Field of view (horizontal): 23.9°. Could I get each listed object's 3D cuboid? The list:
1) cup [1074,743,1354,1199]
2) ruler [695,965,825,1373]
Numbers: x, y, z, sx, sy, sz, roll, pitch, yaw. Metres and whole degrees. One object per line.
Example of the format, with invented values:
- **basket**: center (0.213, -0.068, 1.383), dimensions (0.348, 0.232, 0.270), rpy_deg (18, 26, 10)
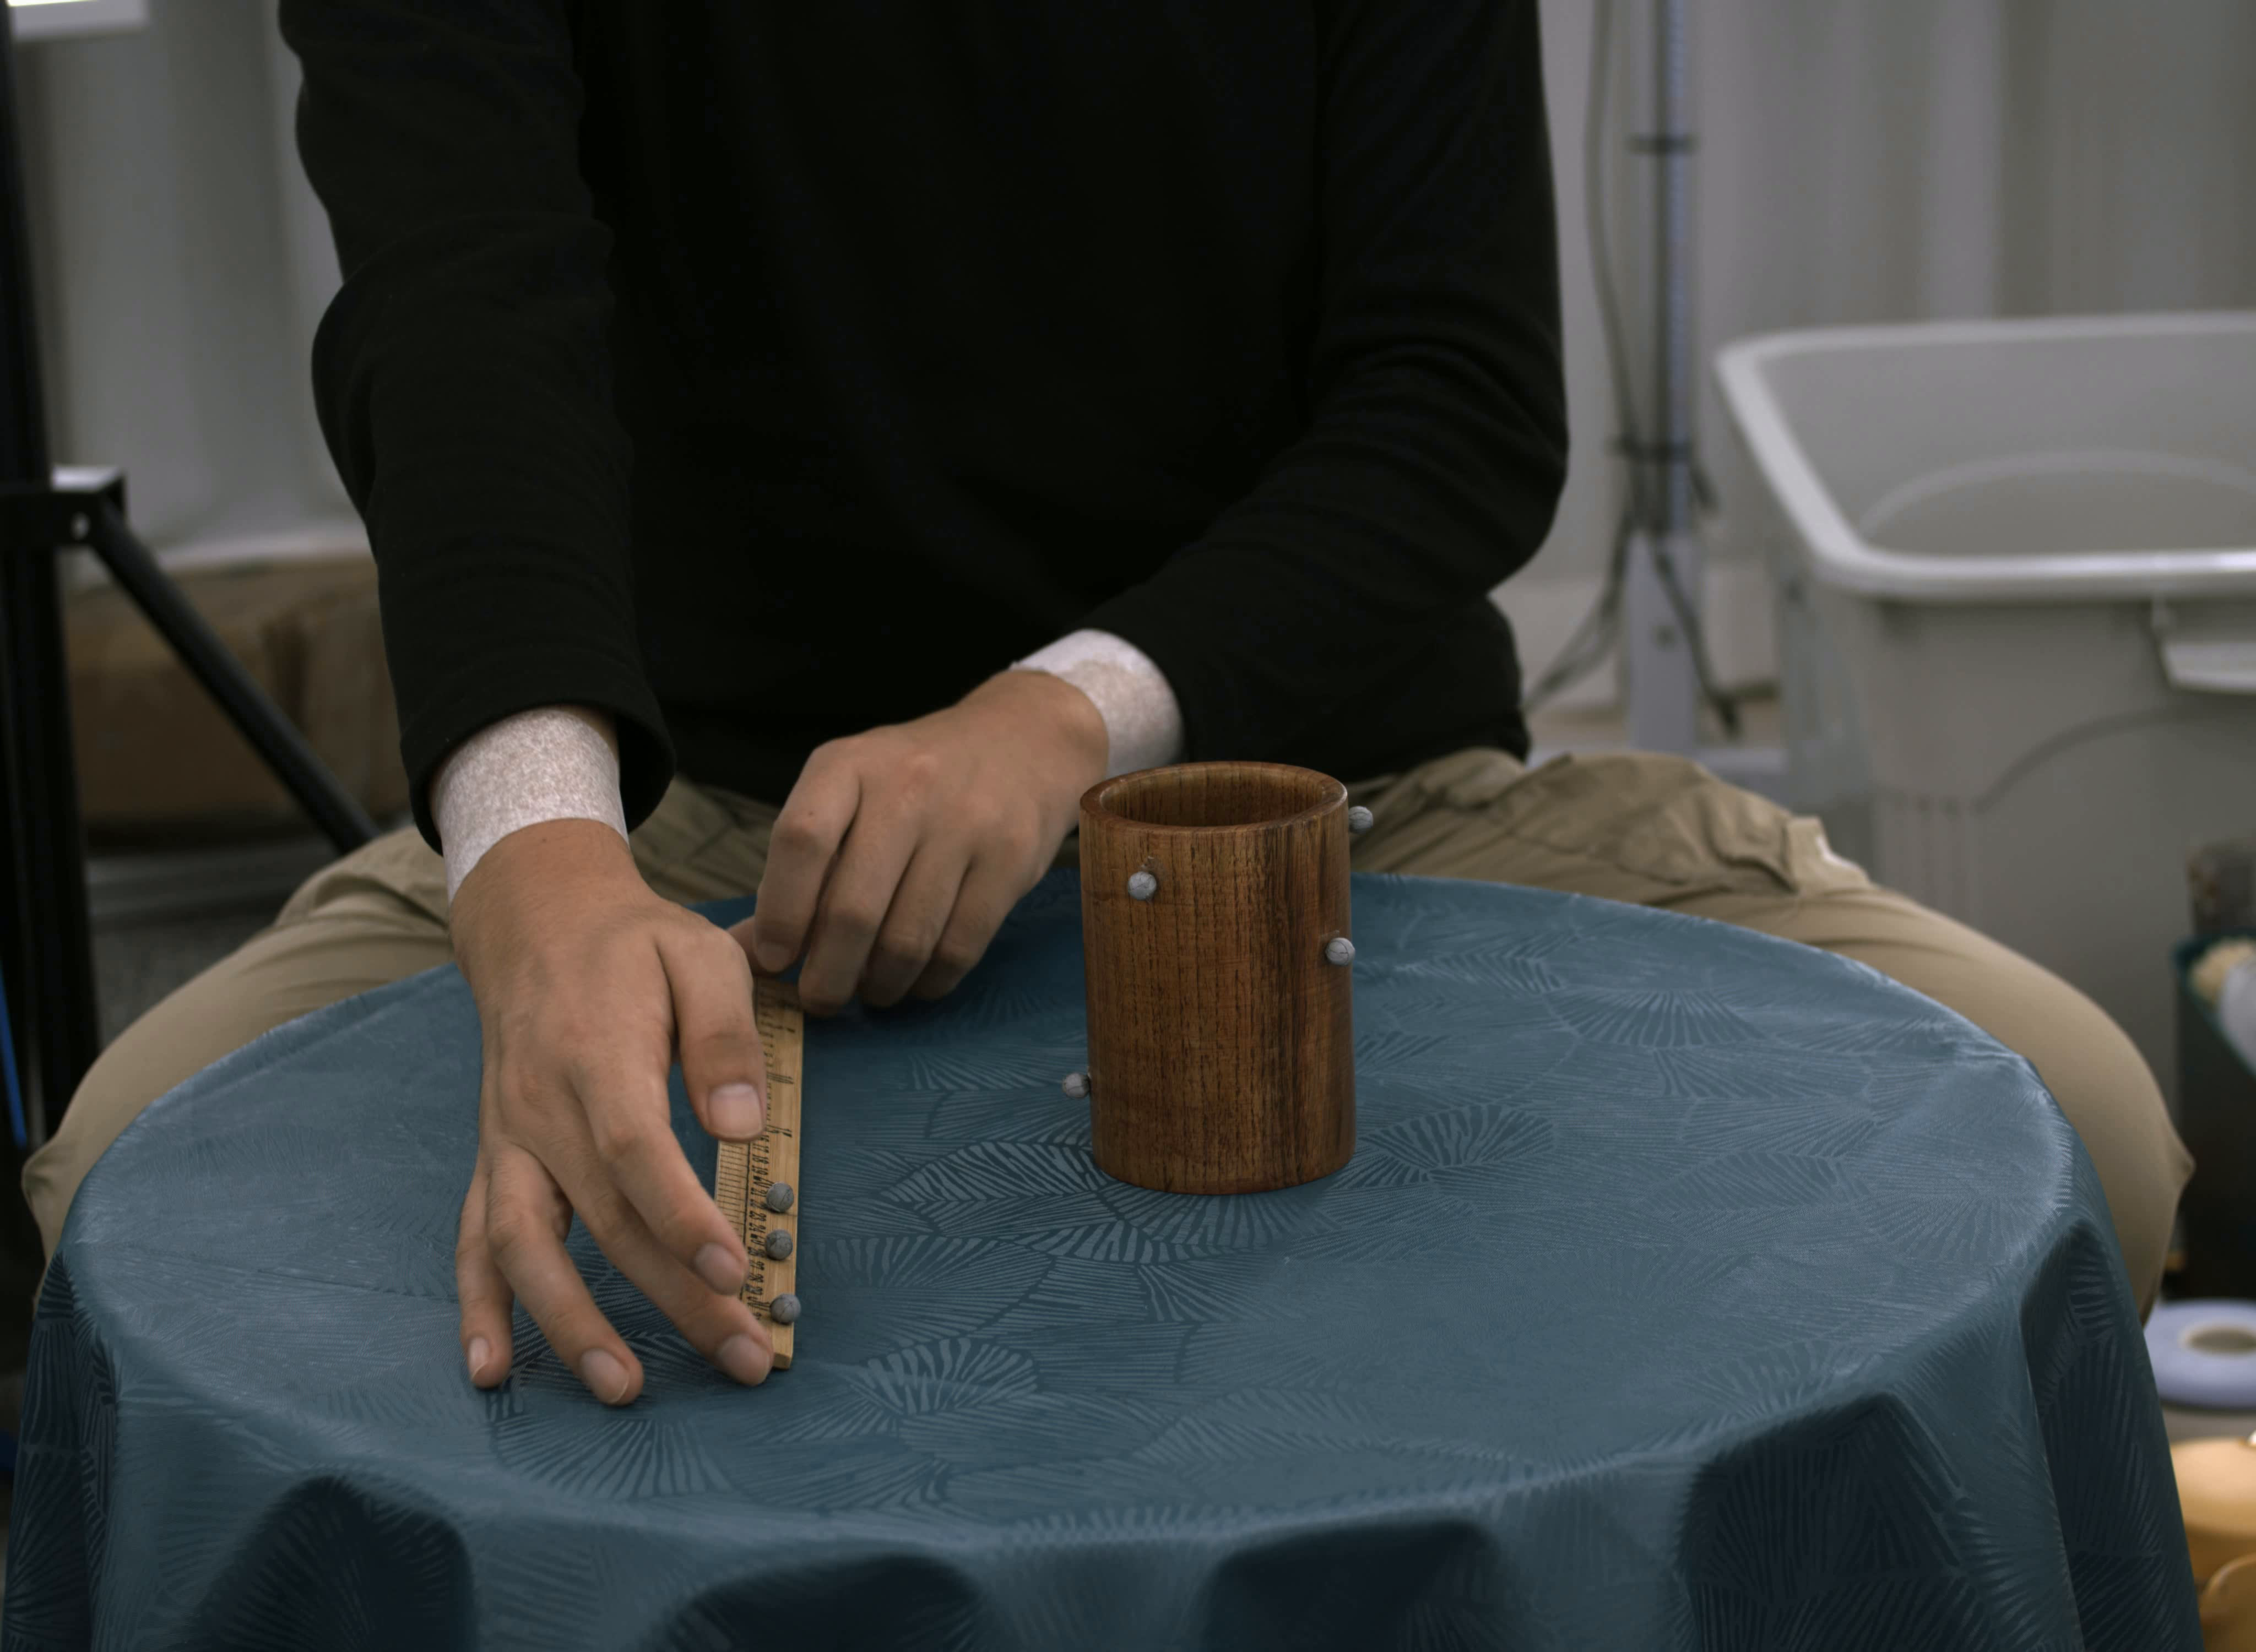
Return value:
- **cup**: center (0.026, 0.042, 1.573), dimensions (0.087, 0.118, 0.088), rpy_deg (-1, 15, -1)
- **ruler**: center (-0.108, 0.094, 1.594), dimensions (0.027, 0.022, 0.333), rpy_deg (20, 14, -7)
